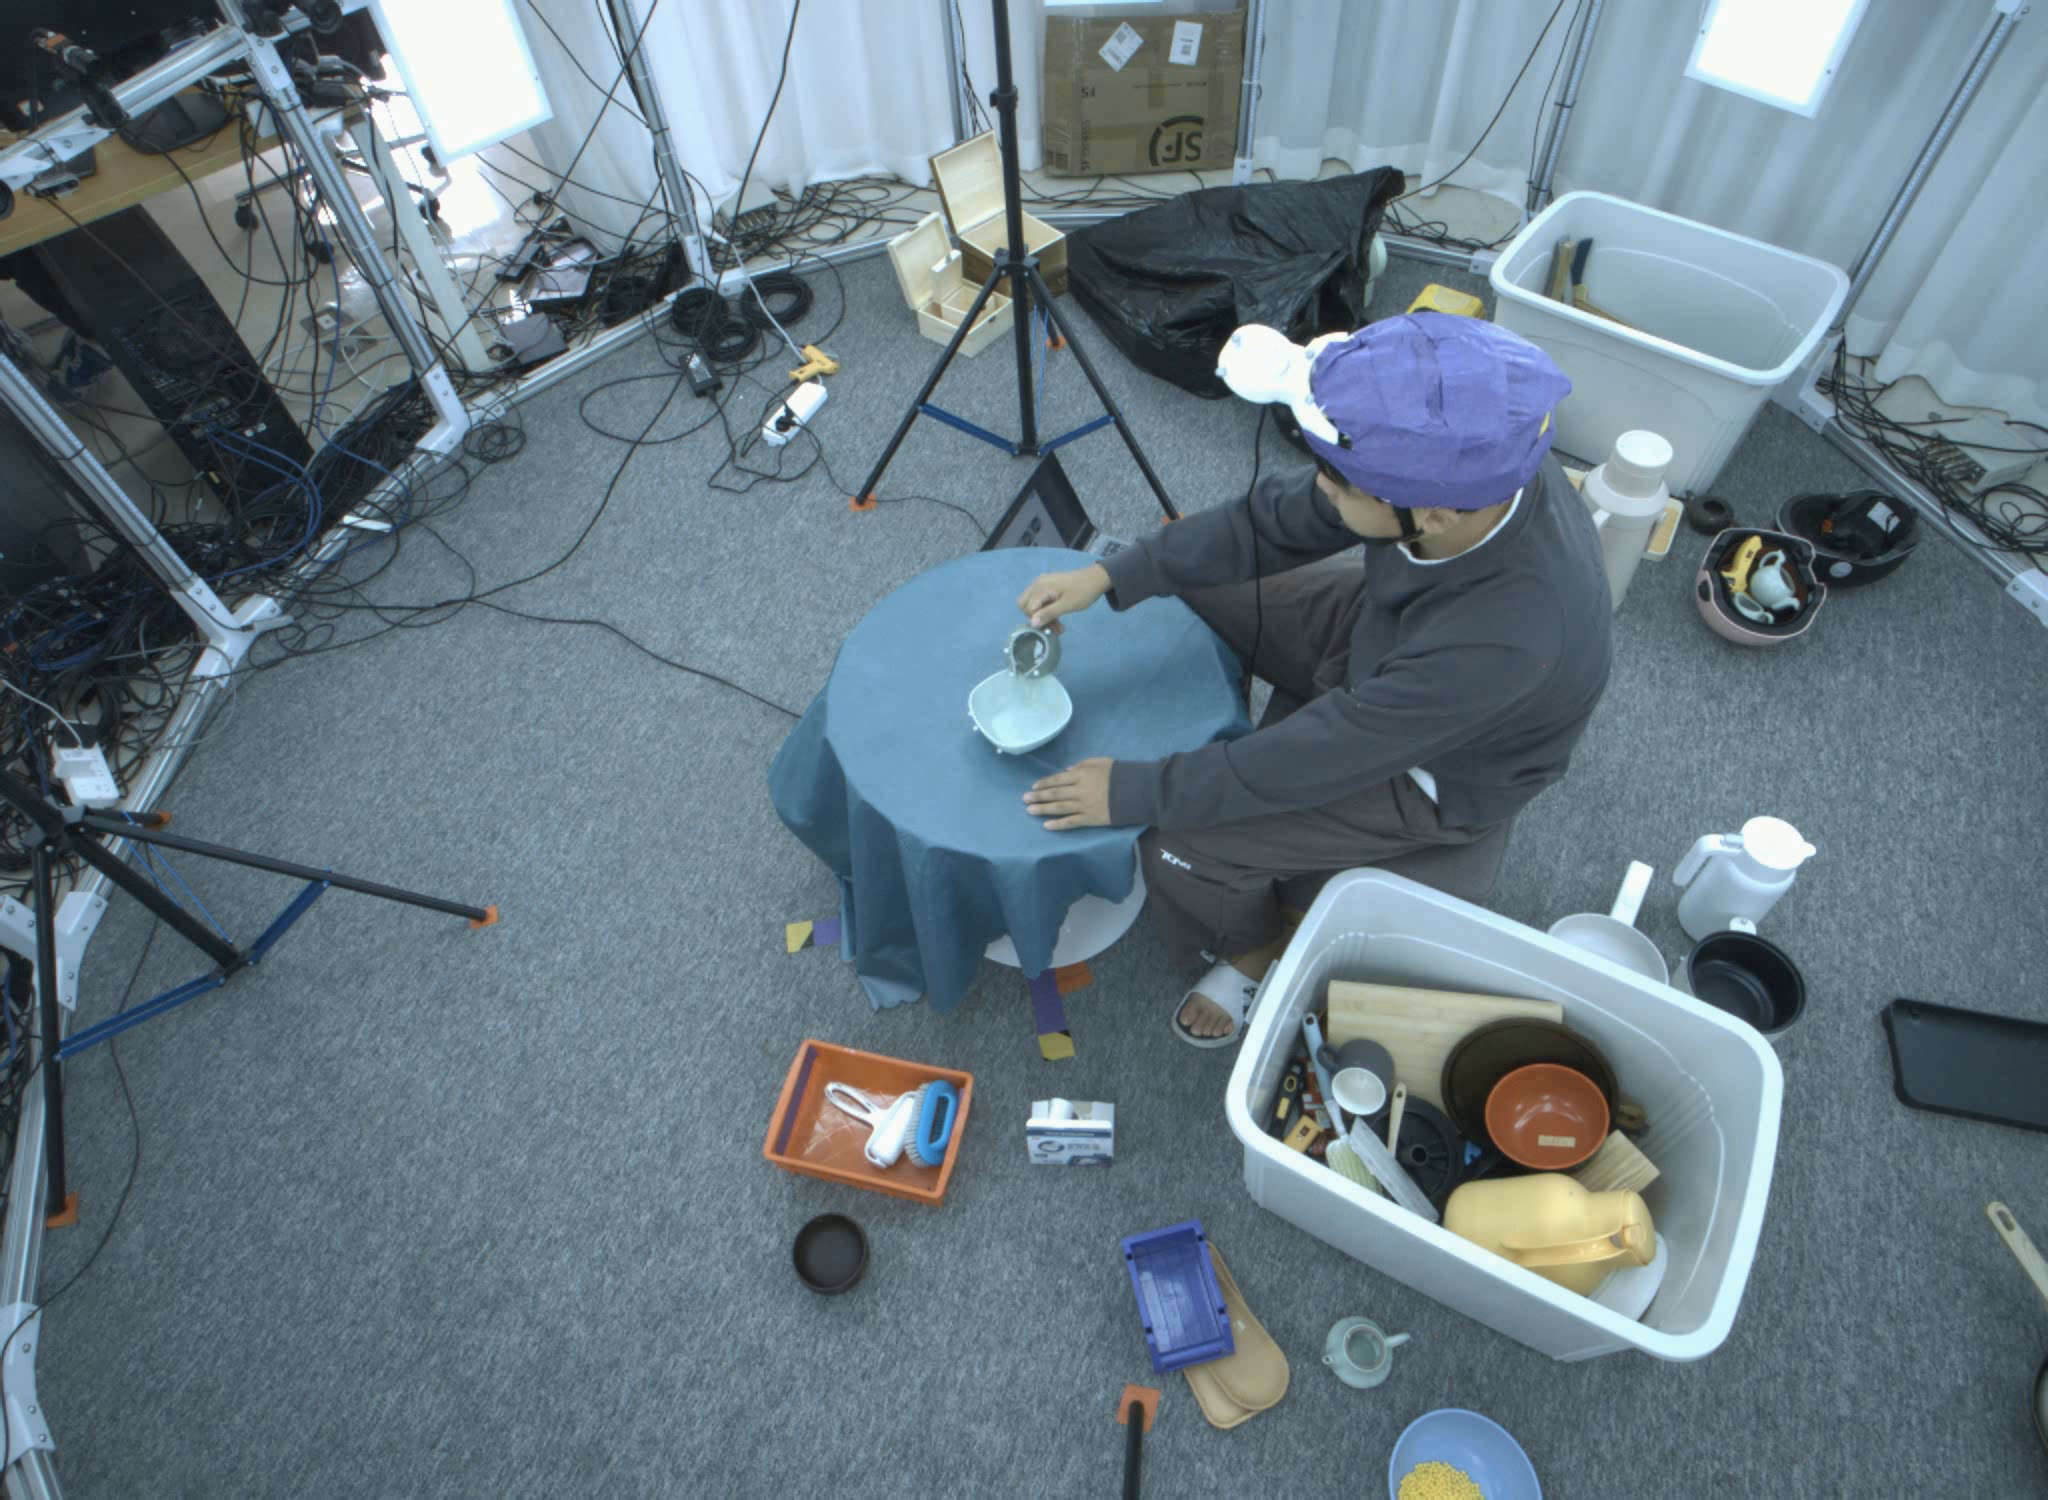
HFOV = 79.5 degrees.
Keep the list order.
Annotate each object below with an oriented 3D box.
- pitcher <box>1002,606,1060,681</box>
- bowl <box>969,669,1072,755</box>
[{"bbox_3d":[0.010,-0.151,1.769,0.084,0.056,0.112,16,90,5],"label":"pitcher"},{"bbox_3d":[-0.004,-0.048,1.788,0.151,0.059,0.150,-1,55,3],"label":"bowl"}]
